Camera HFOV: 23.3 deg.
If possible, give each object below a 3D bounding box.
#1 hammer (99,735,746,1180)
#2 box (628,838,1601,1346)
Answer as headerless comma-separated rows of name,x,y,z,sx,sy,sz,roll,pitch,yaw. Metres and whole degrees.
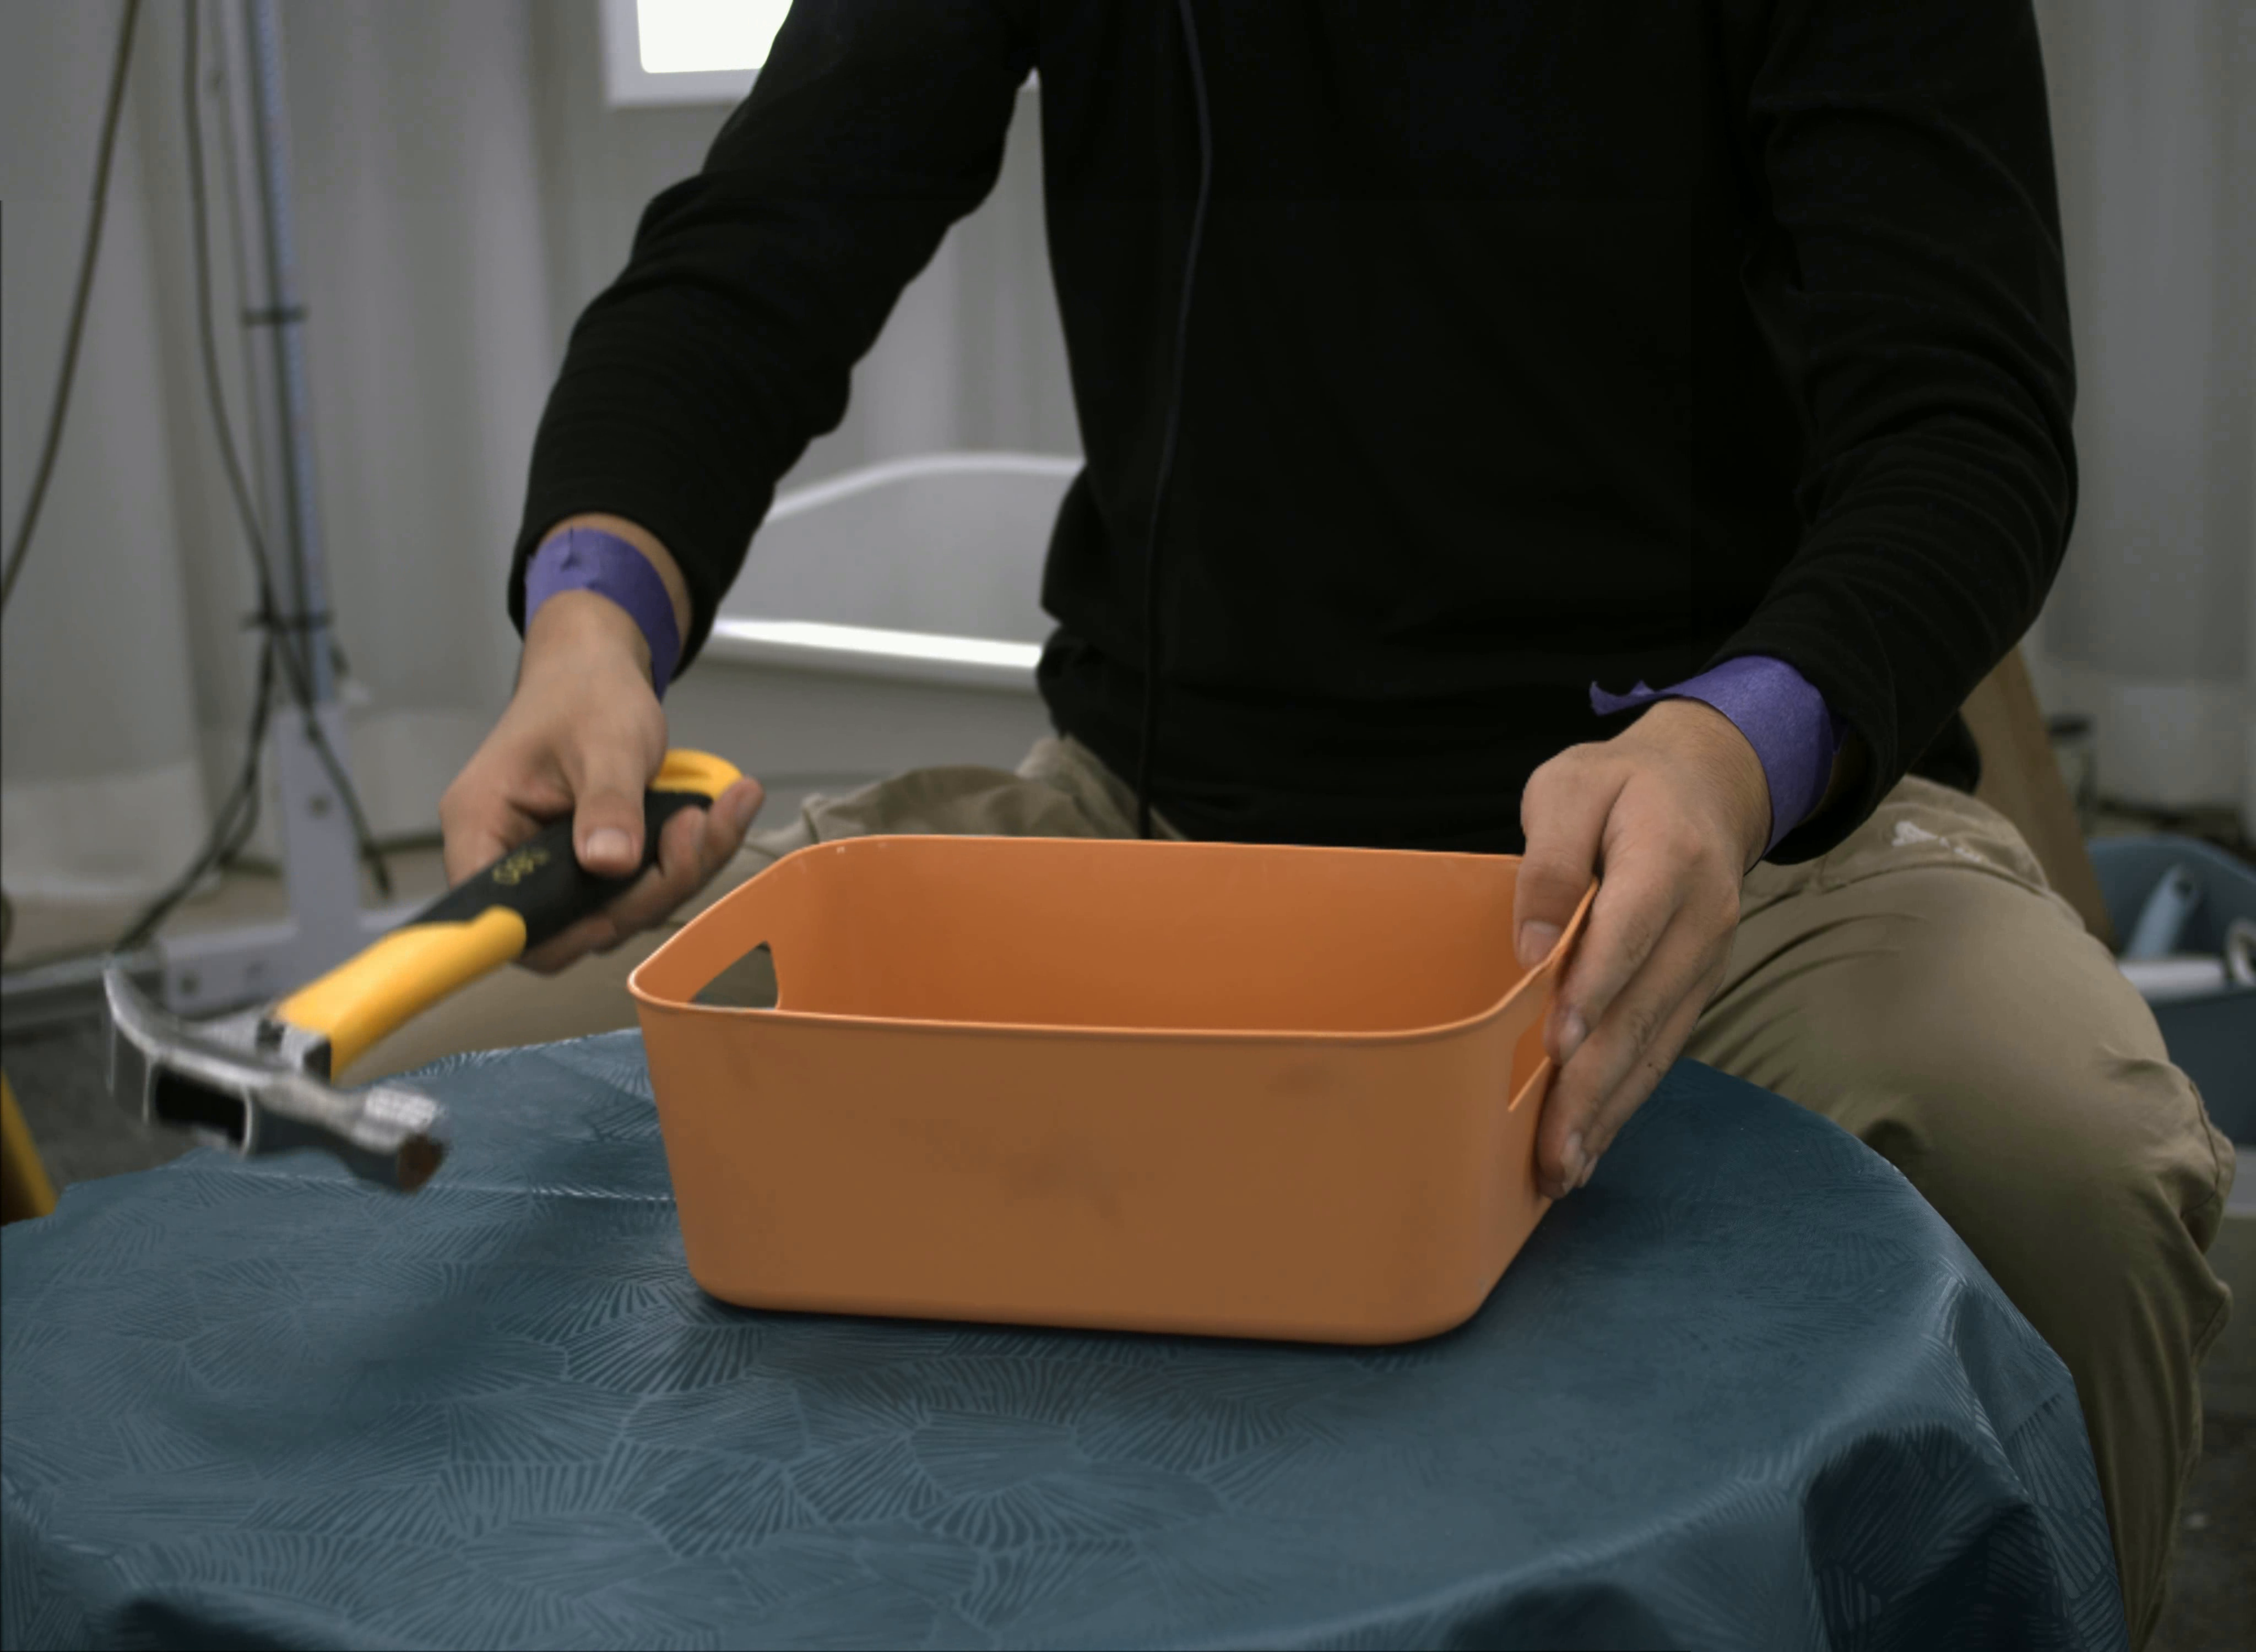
hammer,-0.205,0.027,1.714,0.131,0.032,0.339,15,21,17
box,0.000,0.078,1.654,0.273,0.102,0.200,2,15,17
